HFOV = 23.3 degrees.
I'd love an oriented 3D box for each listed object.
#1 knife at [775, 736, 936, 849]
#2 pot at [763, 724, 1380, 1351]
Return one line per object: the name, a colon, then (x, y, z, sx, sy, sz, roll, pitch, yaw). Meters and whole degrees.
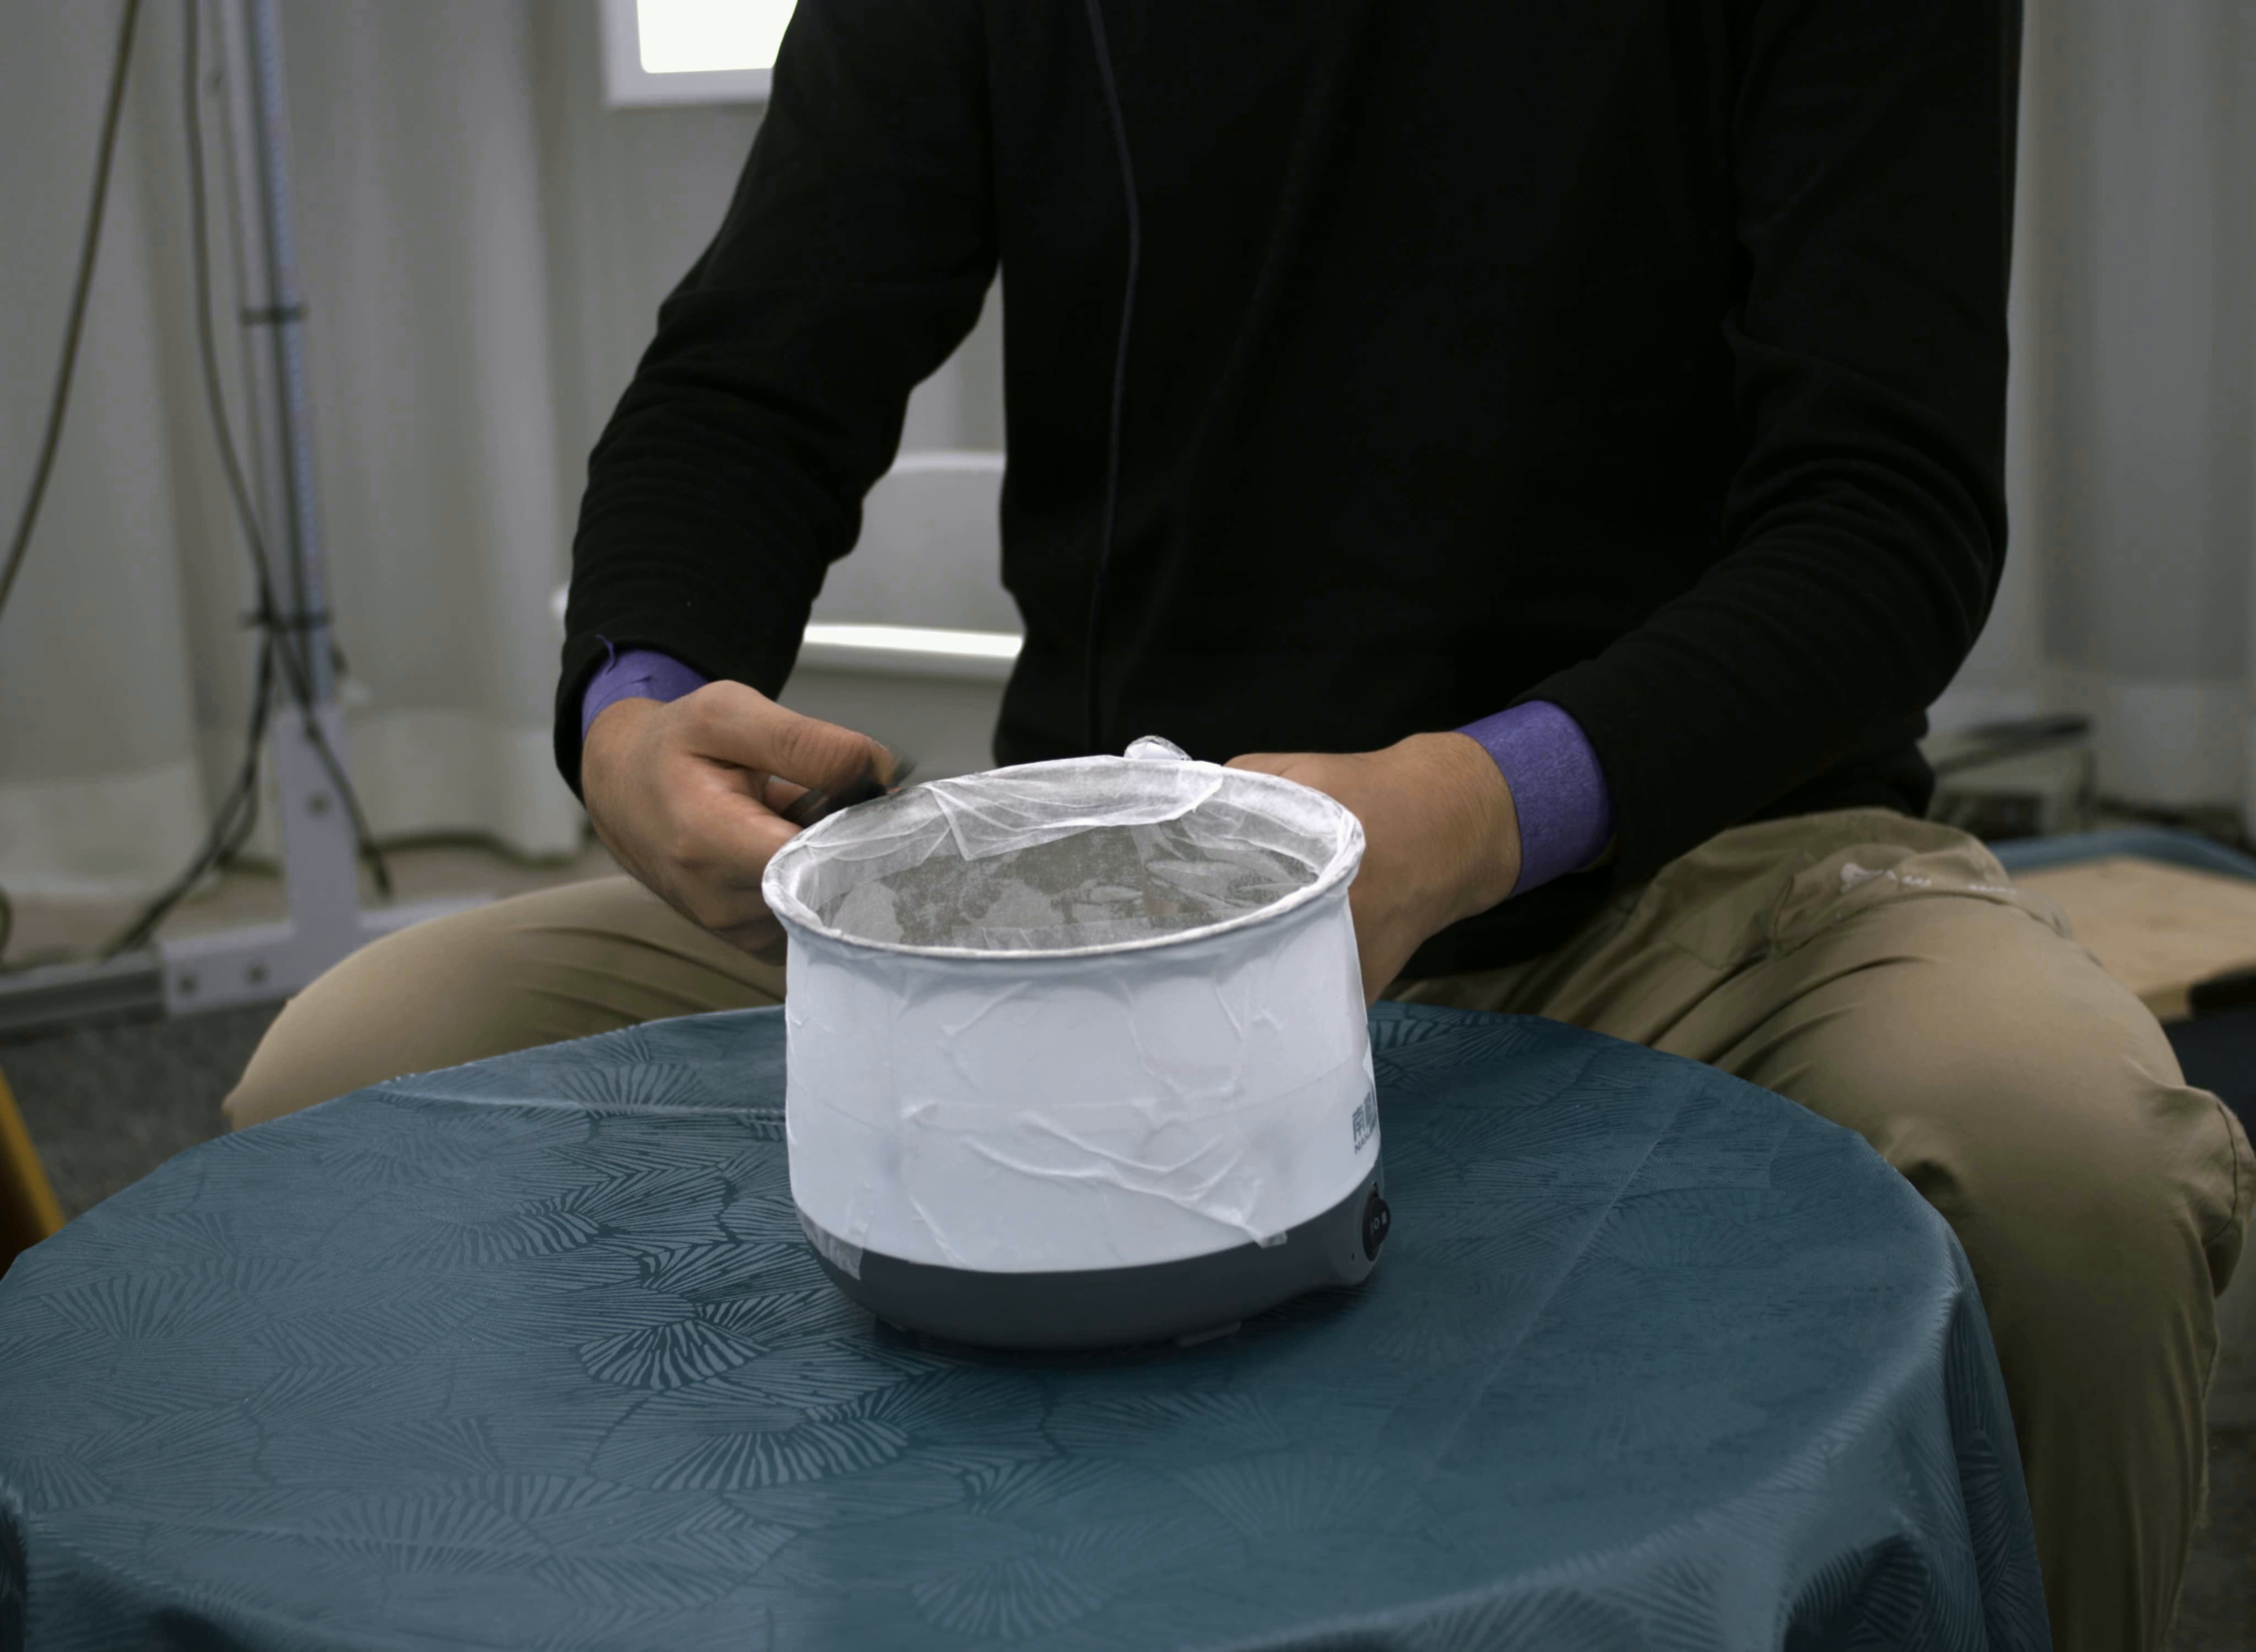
knife: (-0.086, -0.010, 1.701, 0.024, 0.016, 0.237, -7, -6, -13)
pot: (-0.008, 0.057, 1.643, 0.178, 0.136, 0.235, 2, 20, 14)
